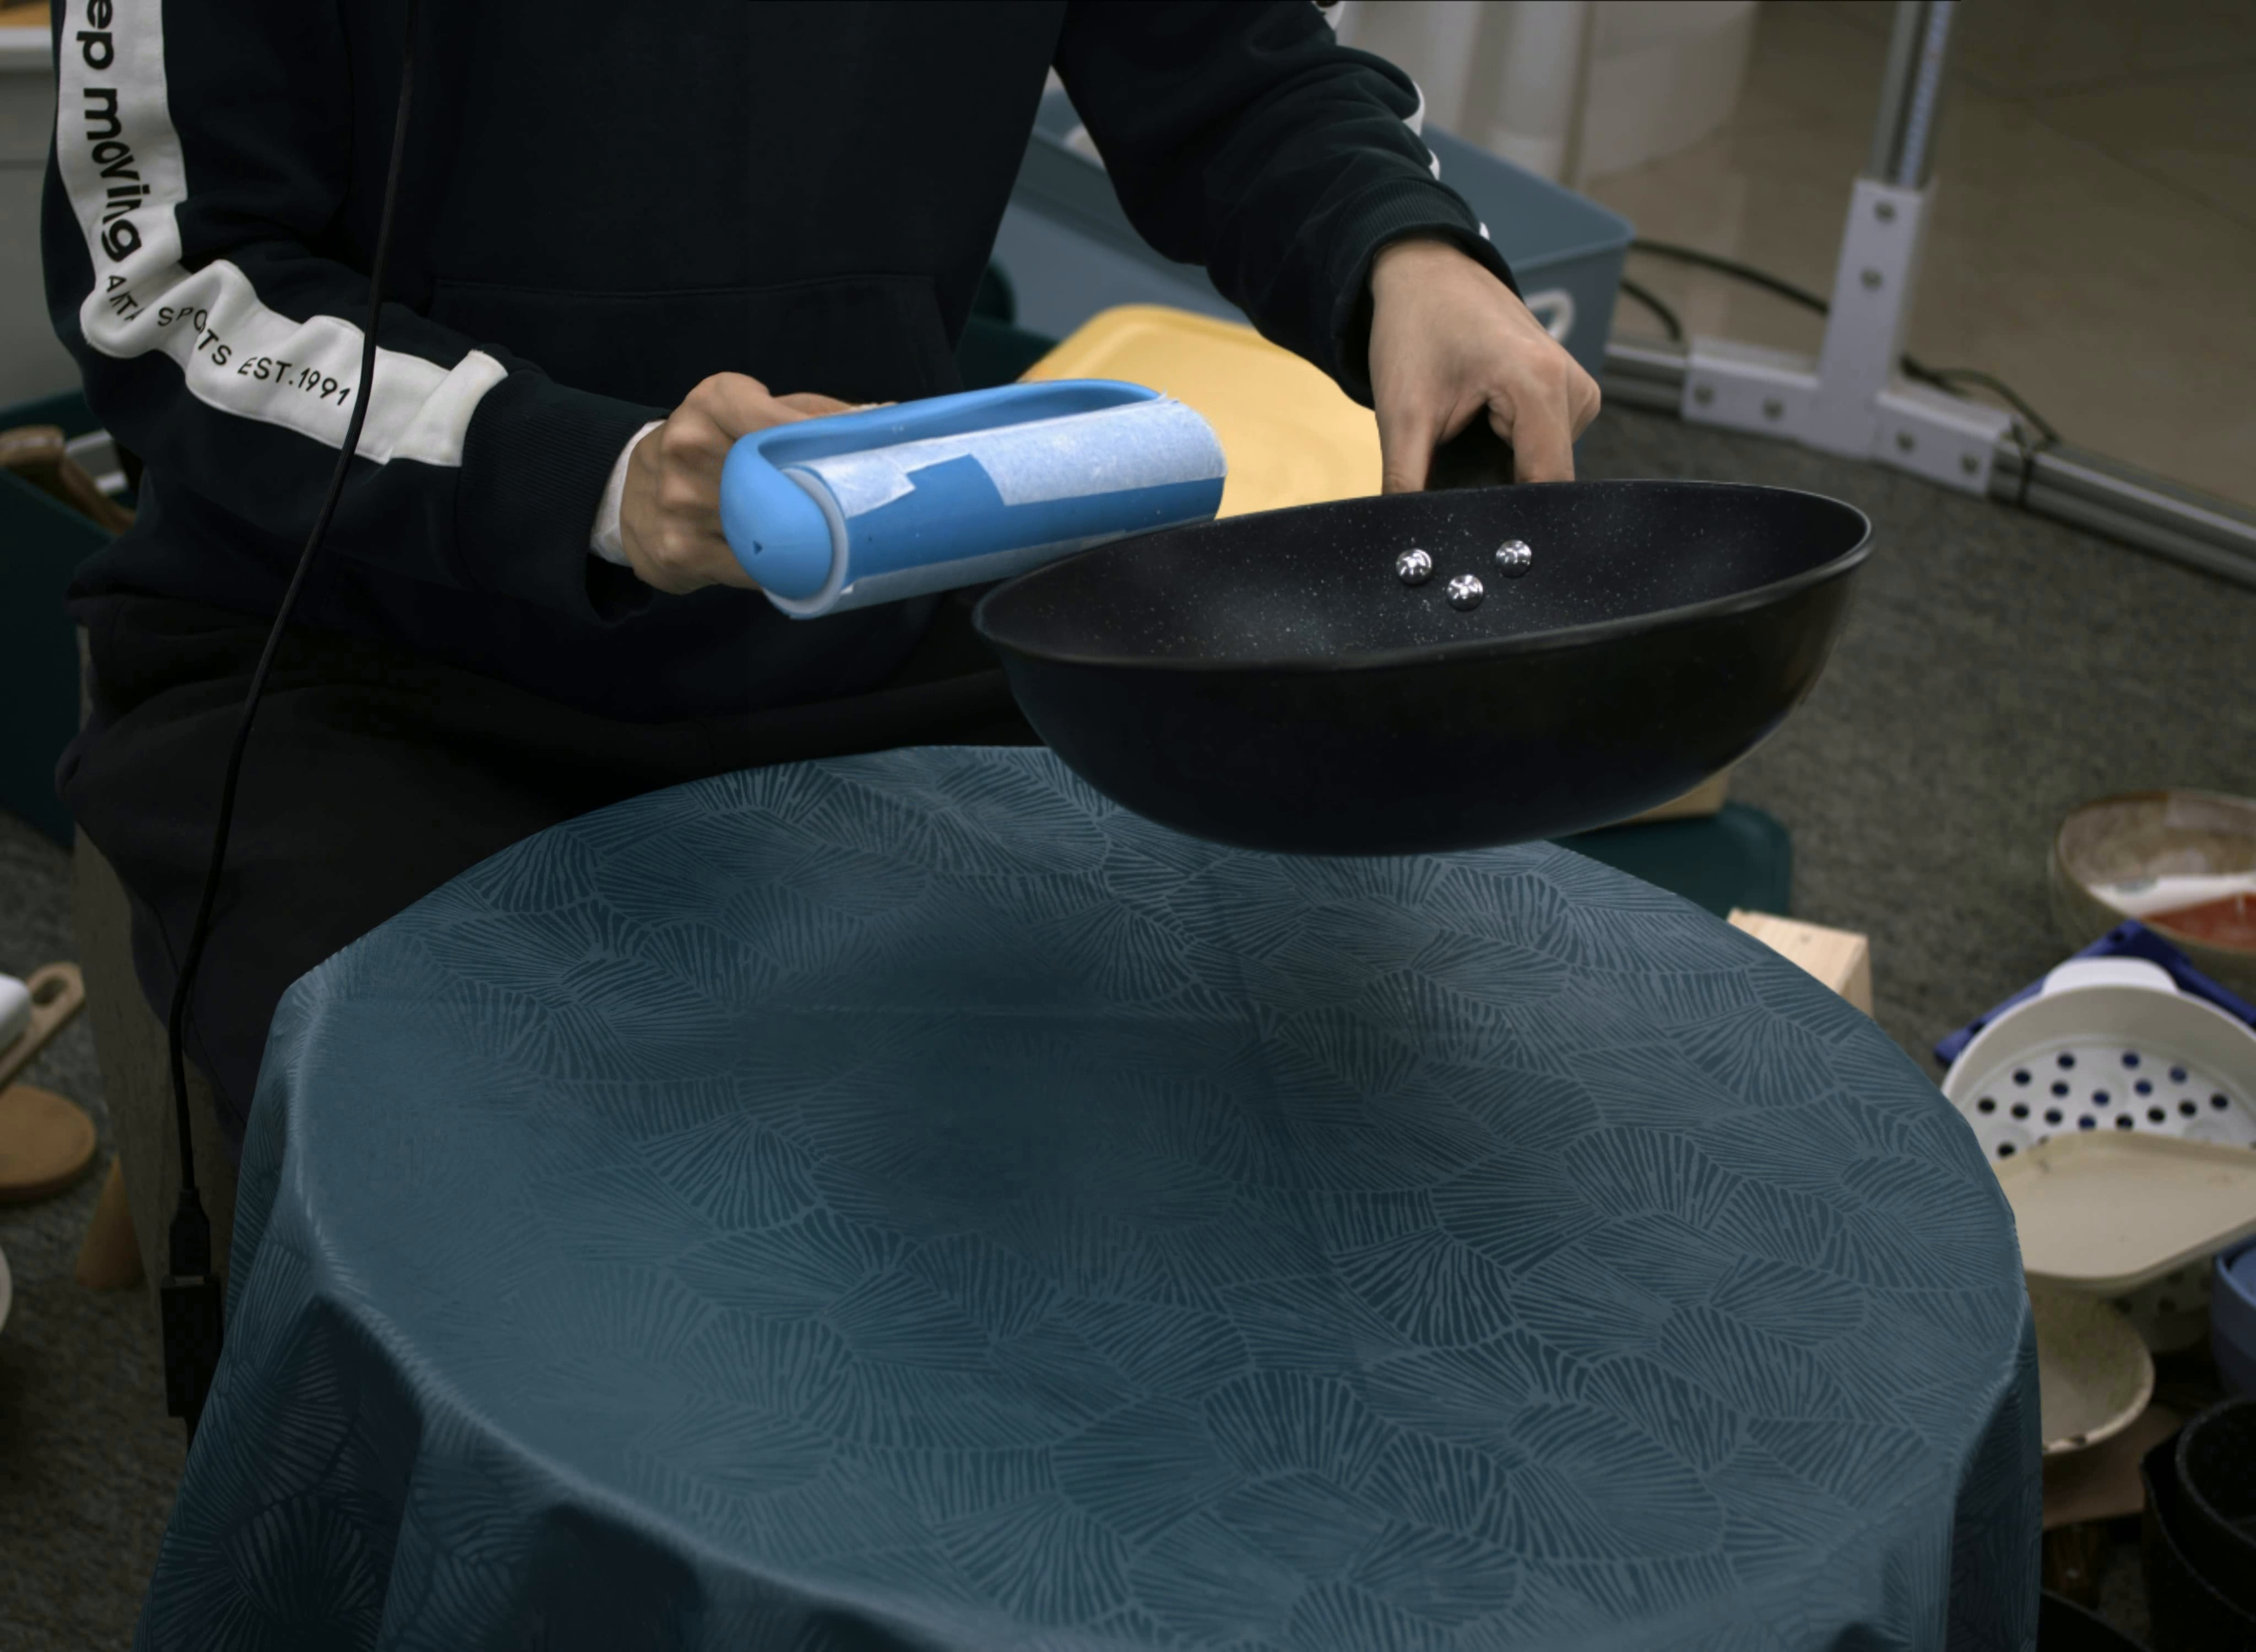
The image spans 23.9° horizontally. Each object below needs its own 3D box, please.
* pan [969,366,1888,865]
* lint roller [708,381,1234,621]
[{"bbox_3d":[0.114,-0.075,1.882,0.310,0.111,0.477,-3,12,9],"label":"pan"},{"bbox_3d":[-0.090,-0.119,1.935,0.181,0.068,0.228,4,15,40],"label":"lint roller"}]
